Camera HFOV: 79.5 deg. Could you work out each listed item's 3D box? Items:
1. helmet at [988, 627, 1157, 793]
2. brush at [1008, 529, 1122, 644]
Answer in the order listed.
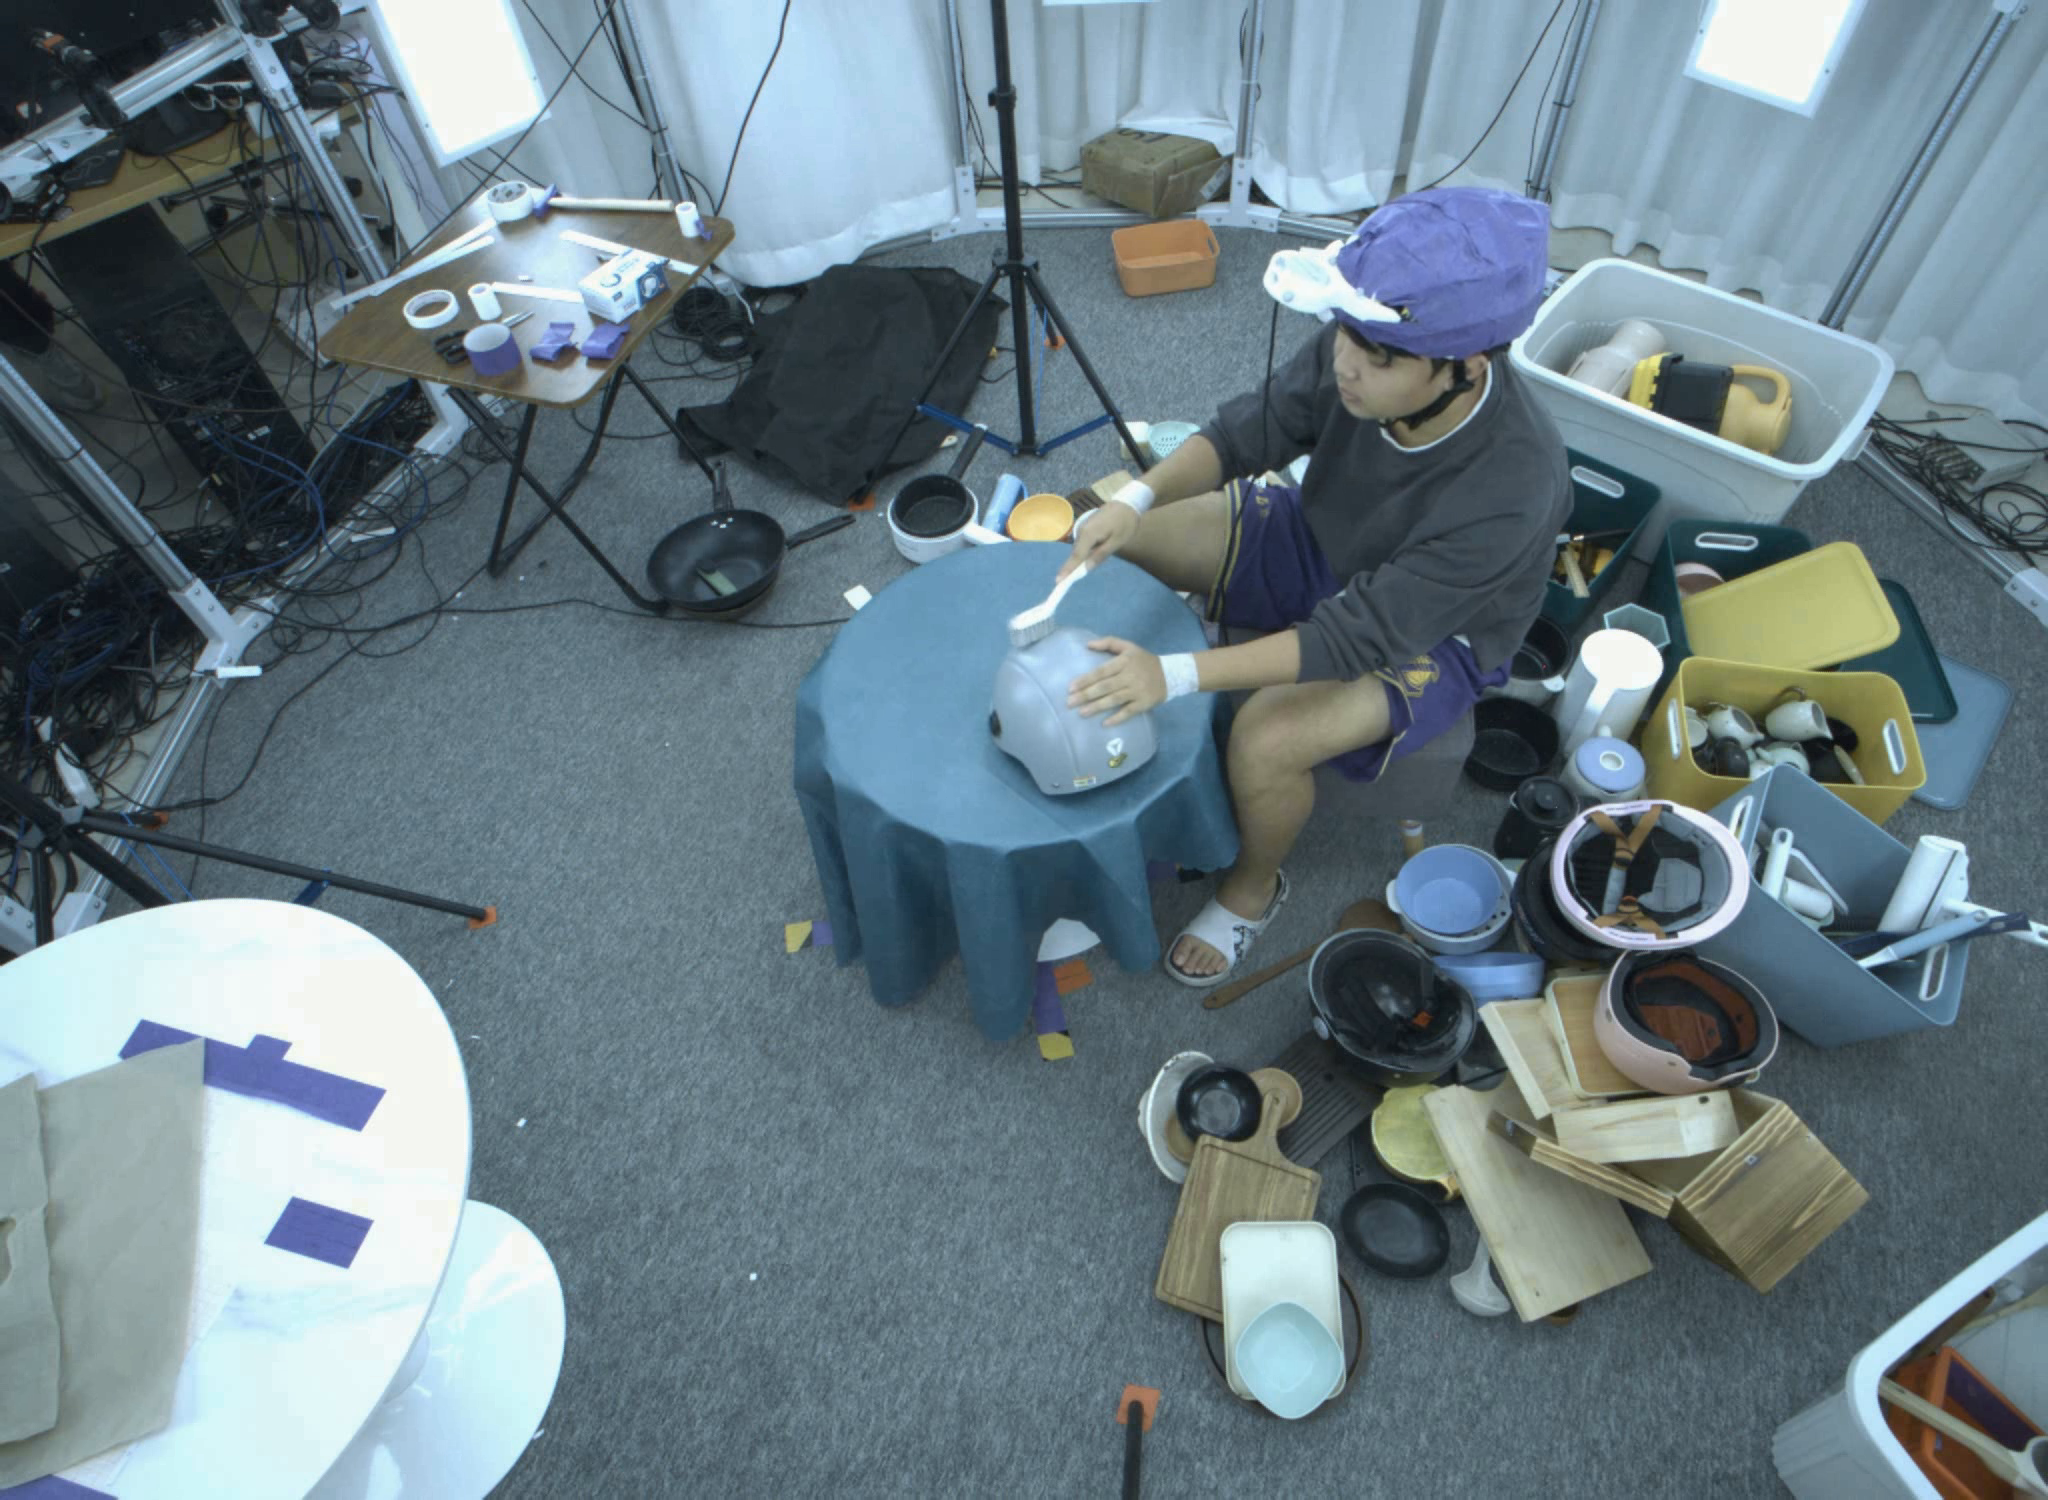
[{"bbox_3d":[0.064,-0.081,1.748,0.234,0.170,0.271,-26,56,-17],"label":"helmet"},{"bbox_3d":[0.067,-0.233,1.763,0.245,0.051,0.033,-44,32,-24],"label":"brush"}]
